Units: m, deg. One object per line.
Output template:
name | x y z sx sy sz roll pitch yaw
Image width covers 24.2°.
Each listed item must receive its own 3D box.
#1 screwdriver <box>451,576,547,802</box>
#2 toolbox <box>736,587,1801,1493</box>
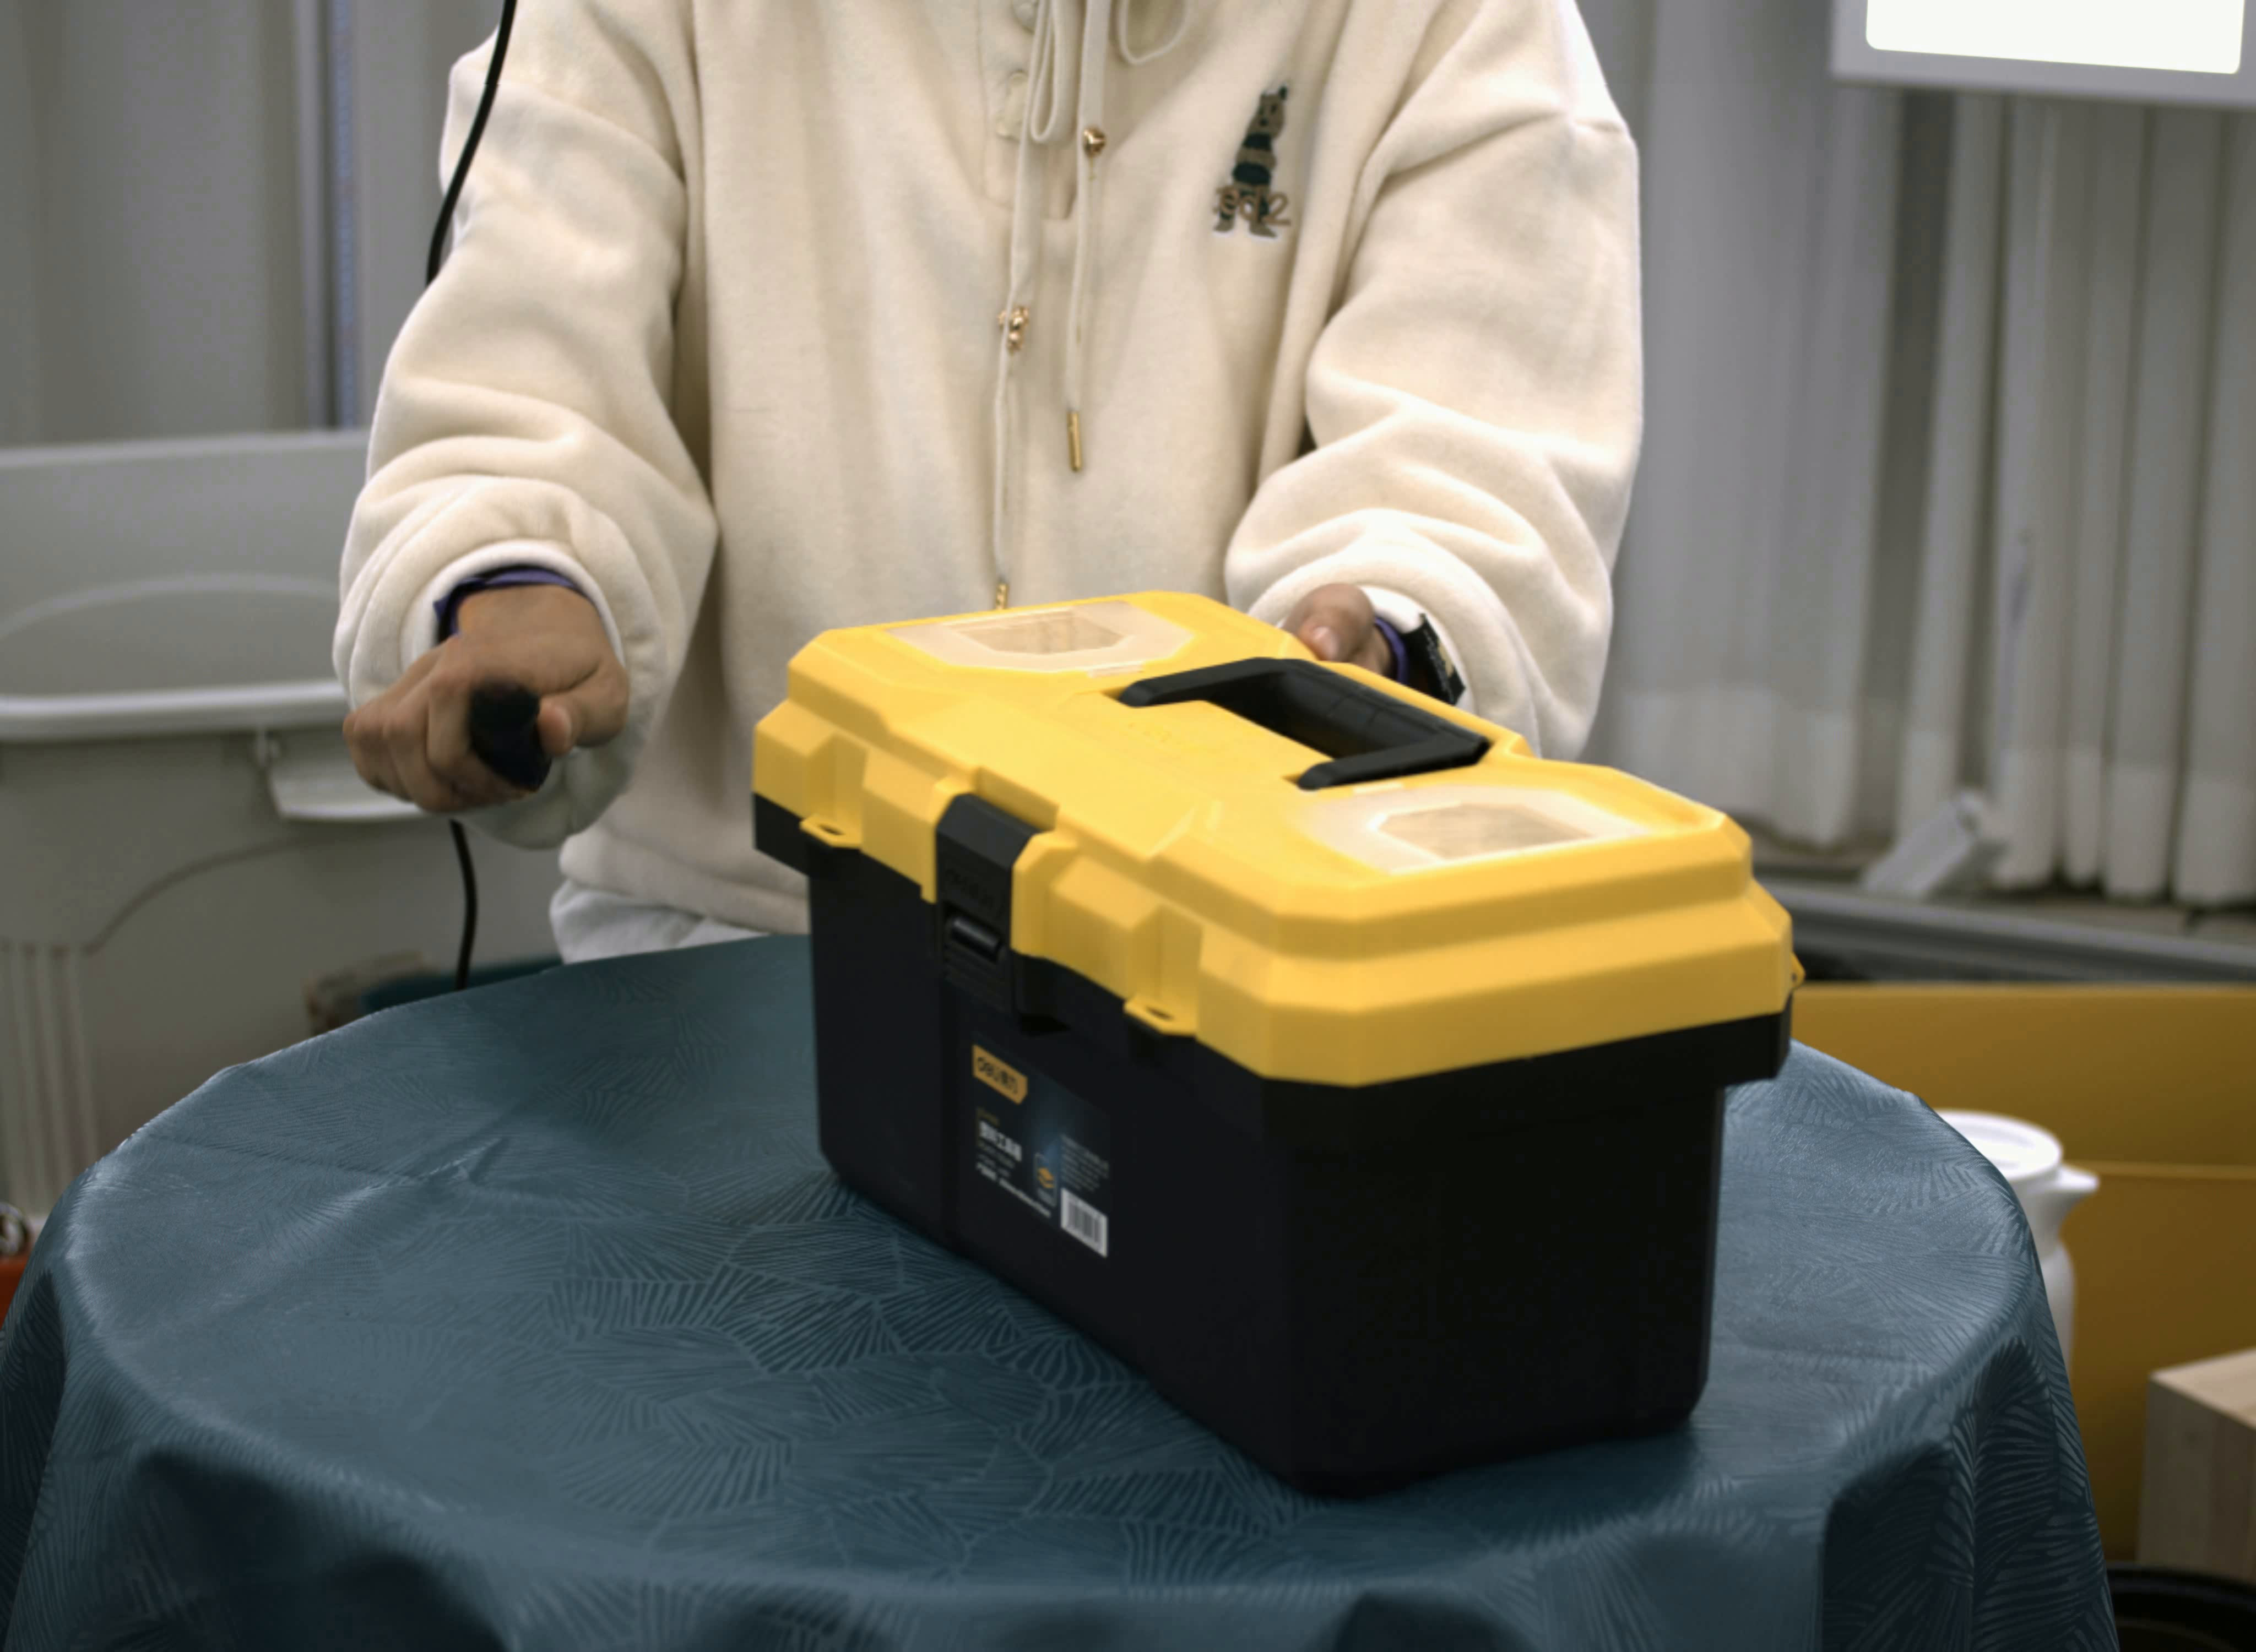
screwdriver | -0.199 -0.047 1.651 0.031 0.031 0.197 -1 -18 -6
toolbox | 0.031 0.052 1.514 0.182 0.174 0.347 -8 18 -28
